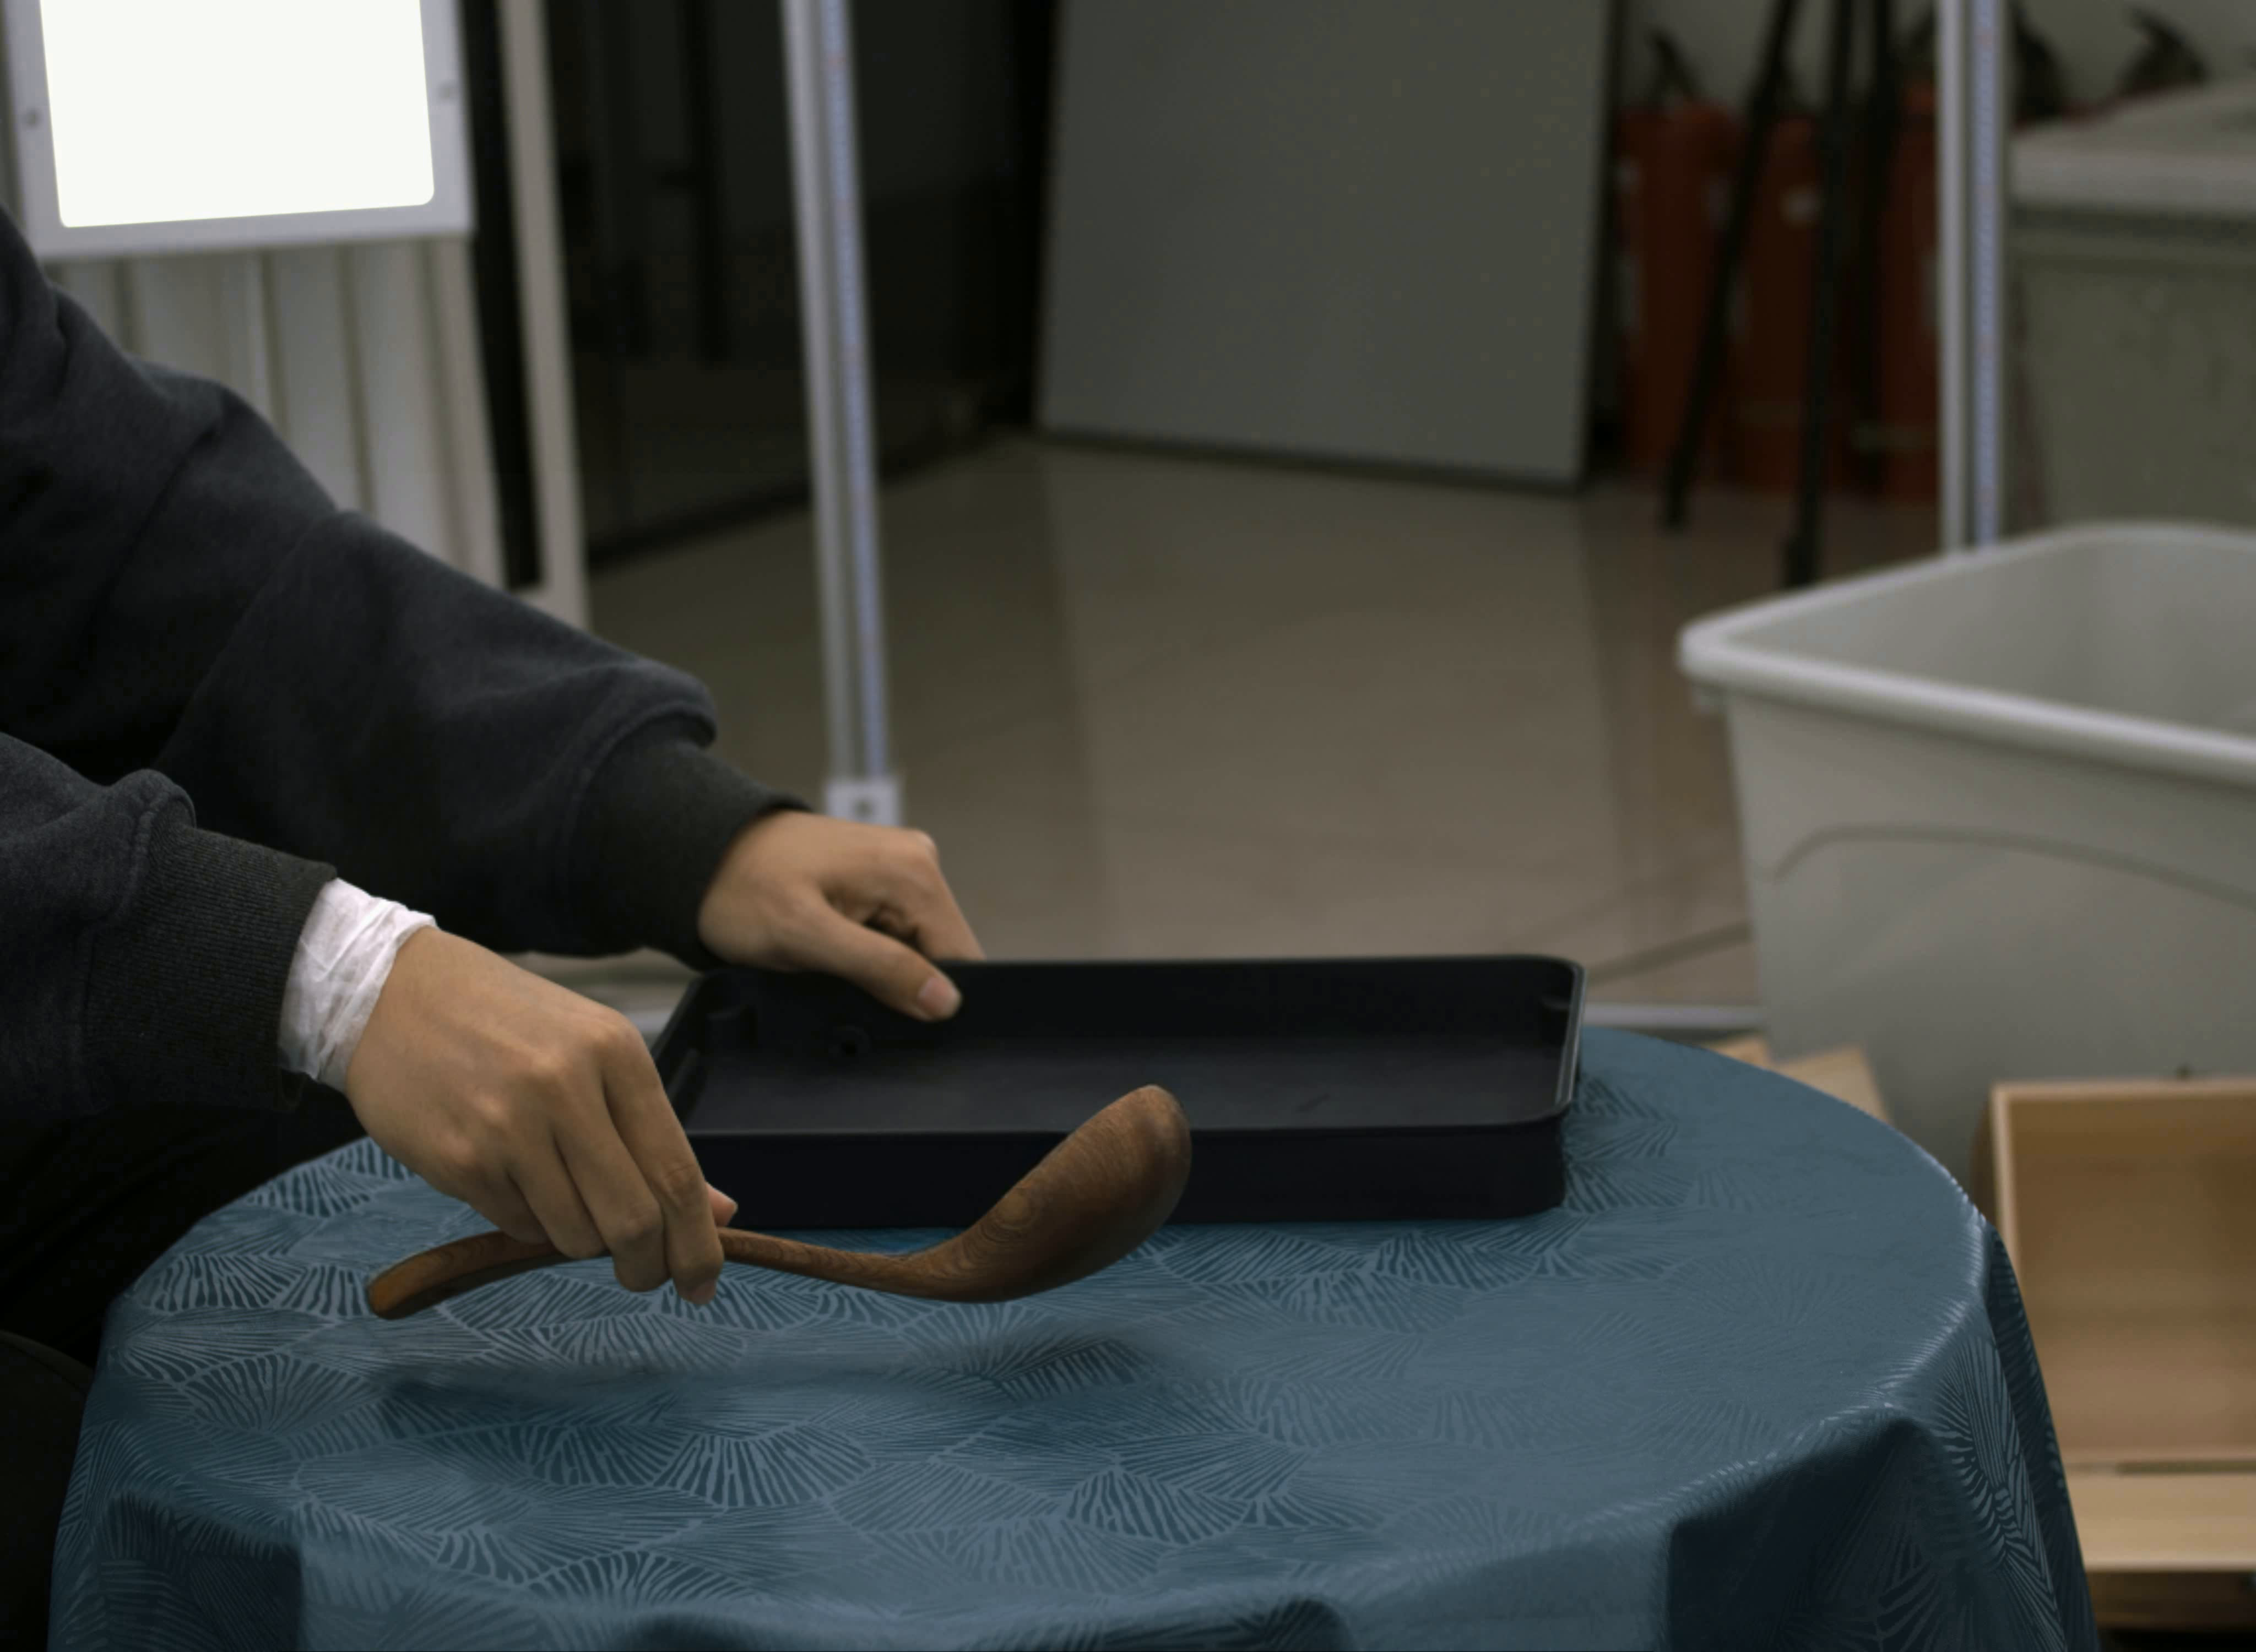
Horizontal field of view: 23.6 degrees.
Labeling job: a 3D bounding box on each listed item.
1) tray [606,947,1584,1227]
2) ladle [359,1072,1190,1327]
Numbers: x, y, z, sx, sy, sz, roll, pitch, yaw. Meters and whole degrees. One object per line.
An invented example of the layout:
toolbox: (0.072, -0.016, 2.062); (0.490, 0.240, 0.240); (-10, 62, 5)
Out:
tray: (-0.006, 0.086, 1.815); (0.315, 0.037, 0.184); (0, 16, 9)
ladle: (-0.107, 0.114, 1.627); (0.259, 0.066, 0.076); (-3, -17, 14)
